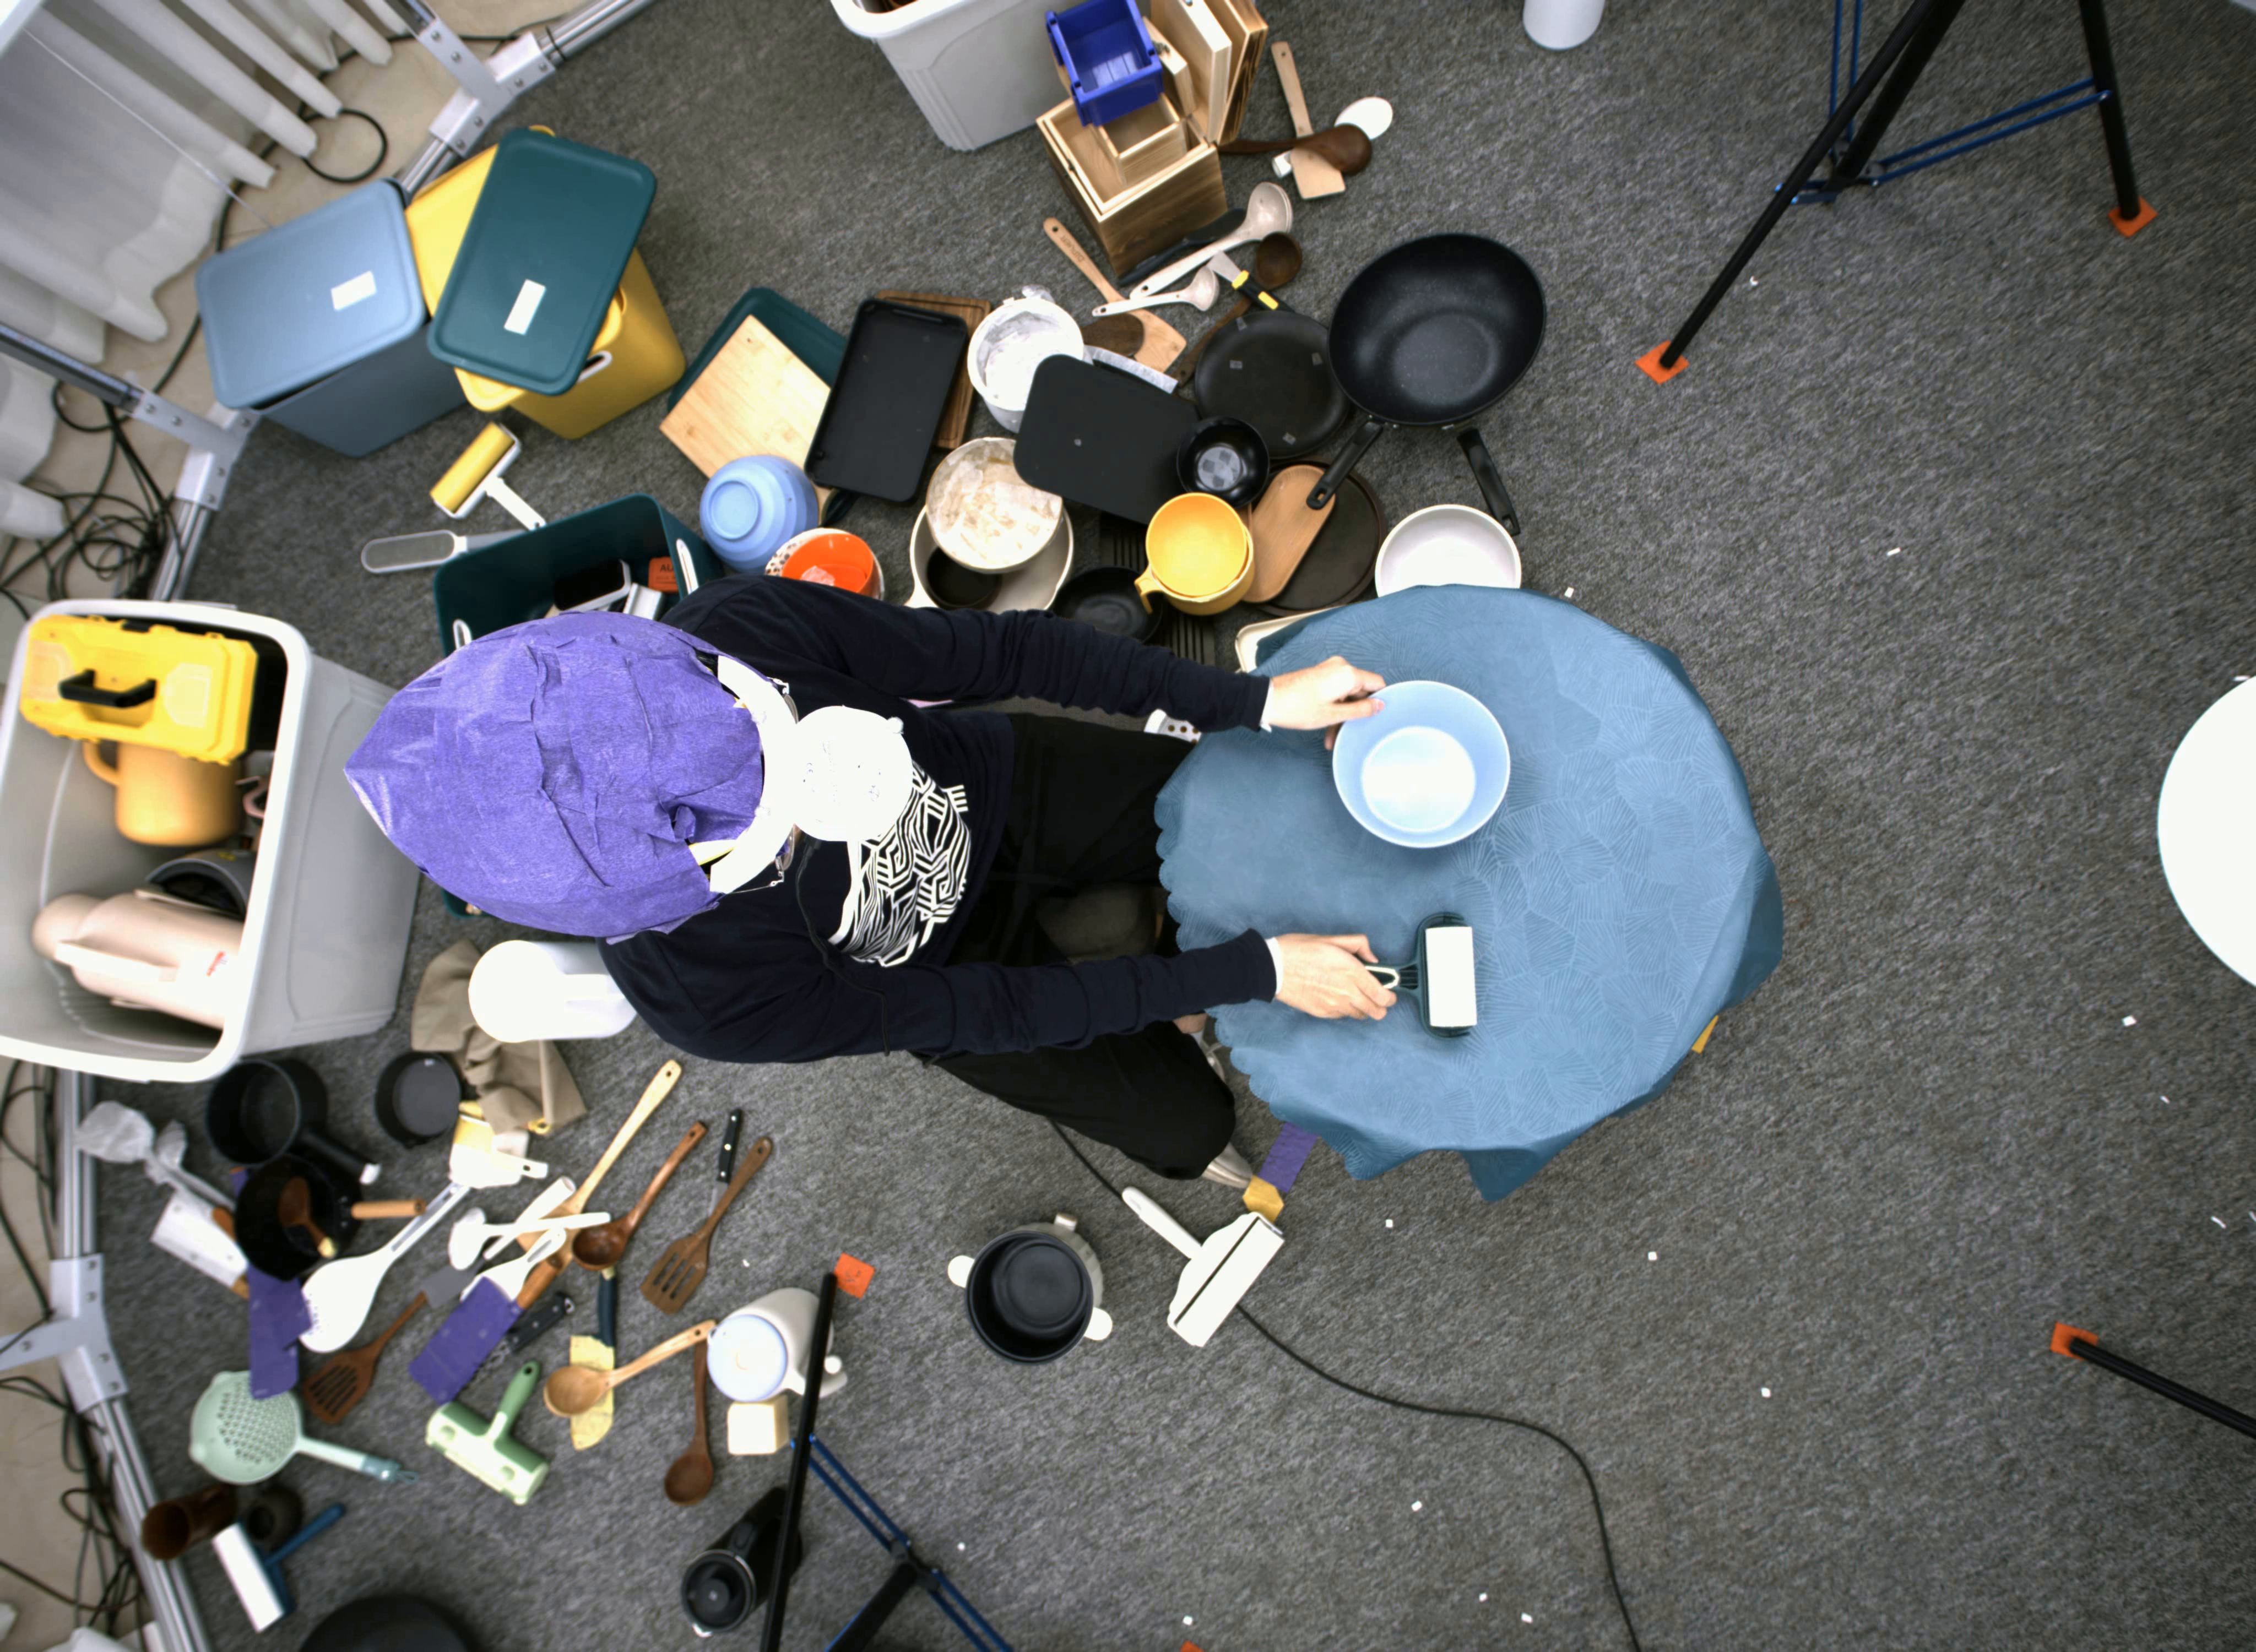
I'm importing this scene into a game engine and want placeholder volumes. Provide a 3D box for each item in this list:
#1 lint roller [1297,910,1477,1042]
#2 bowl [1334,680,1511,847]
[{"bbox_3d":[0.265,0.156,1.422,0.180,0.048,0.133,-3,86,3],"label":"lint roller"},{"bbox_3d":[0.300,-0.058,1.411,0.177,0.071,0.174,-2,78,9],"label":"bowl"}]
